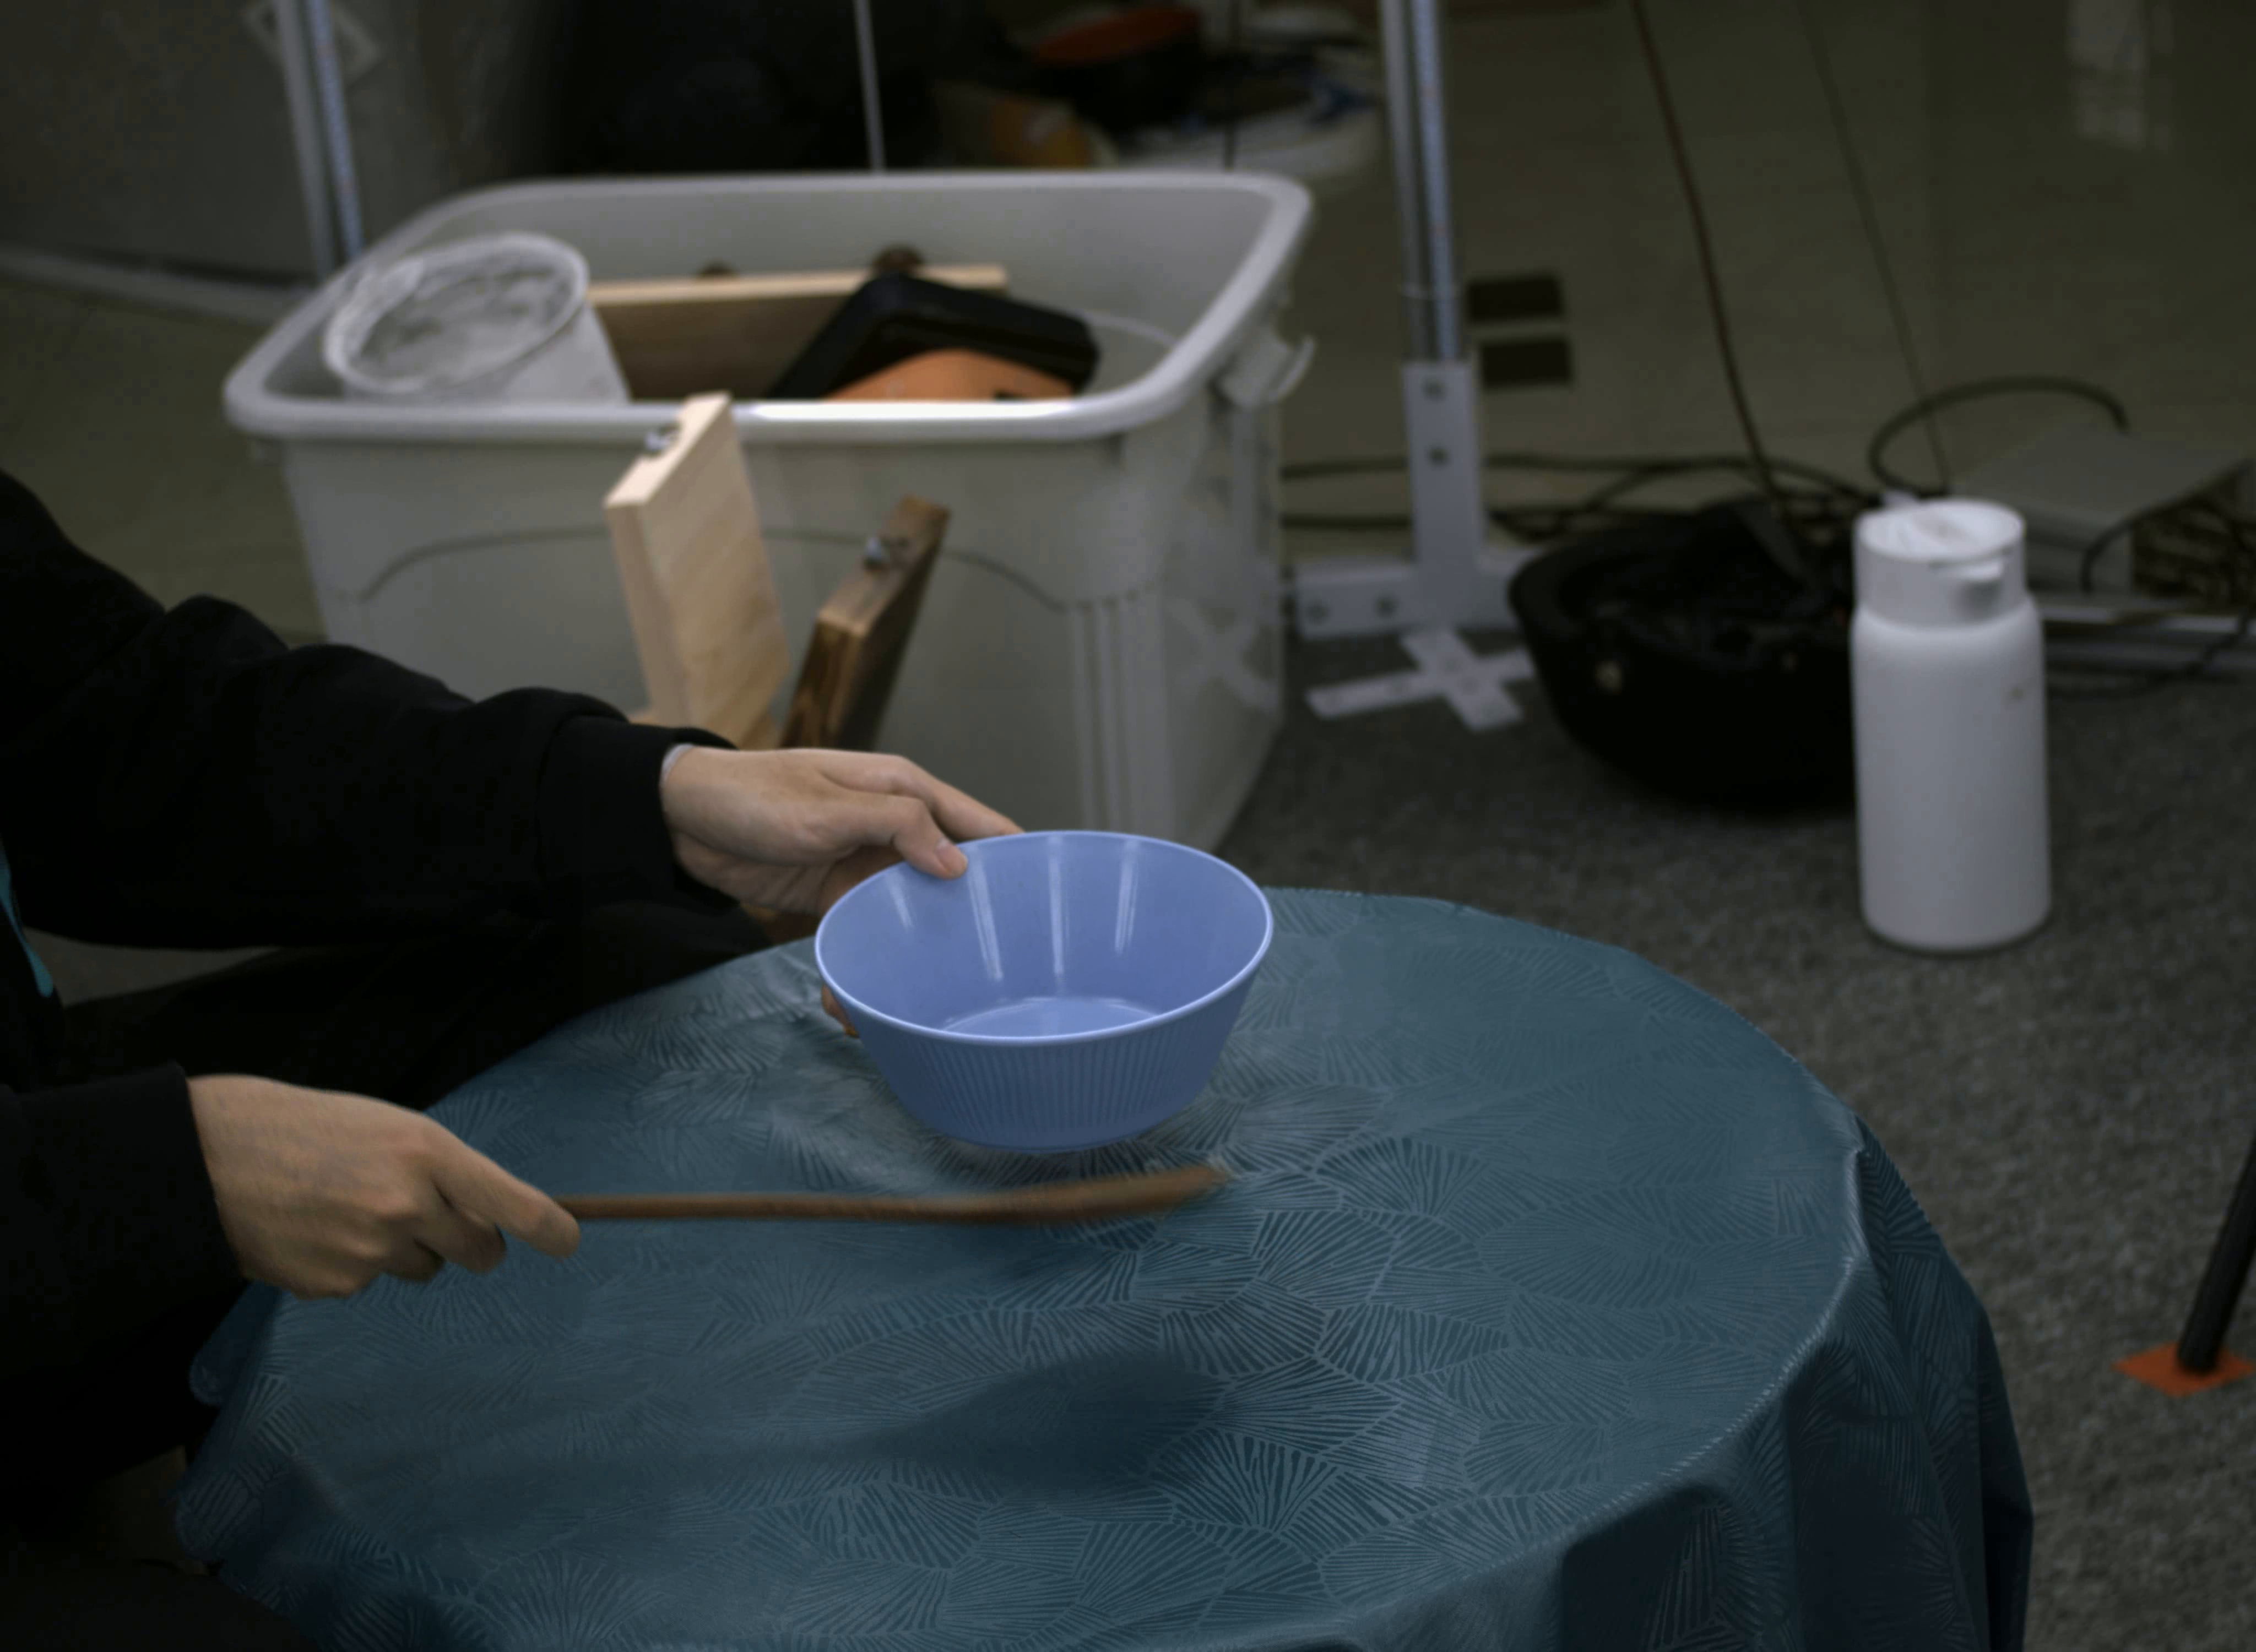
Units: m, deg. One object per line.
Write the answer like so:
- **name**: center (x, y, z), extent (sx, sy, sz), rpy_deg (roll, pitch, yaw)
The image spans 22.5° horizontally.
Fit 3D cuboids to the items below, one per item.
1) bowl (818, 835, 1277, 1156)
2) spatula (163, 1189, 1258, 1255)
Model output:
- **bowl**: center (-0.028, 0.071, 2.169), extent (0.176, 0.071, 0.173), rpy_deg (-4, 26, 2)
- **spatula**: center (-0.147, 0.139, 1.993), extent (0.385, 0.016, 0.096), rpy_deg (-1, 1, 0)
